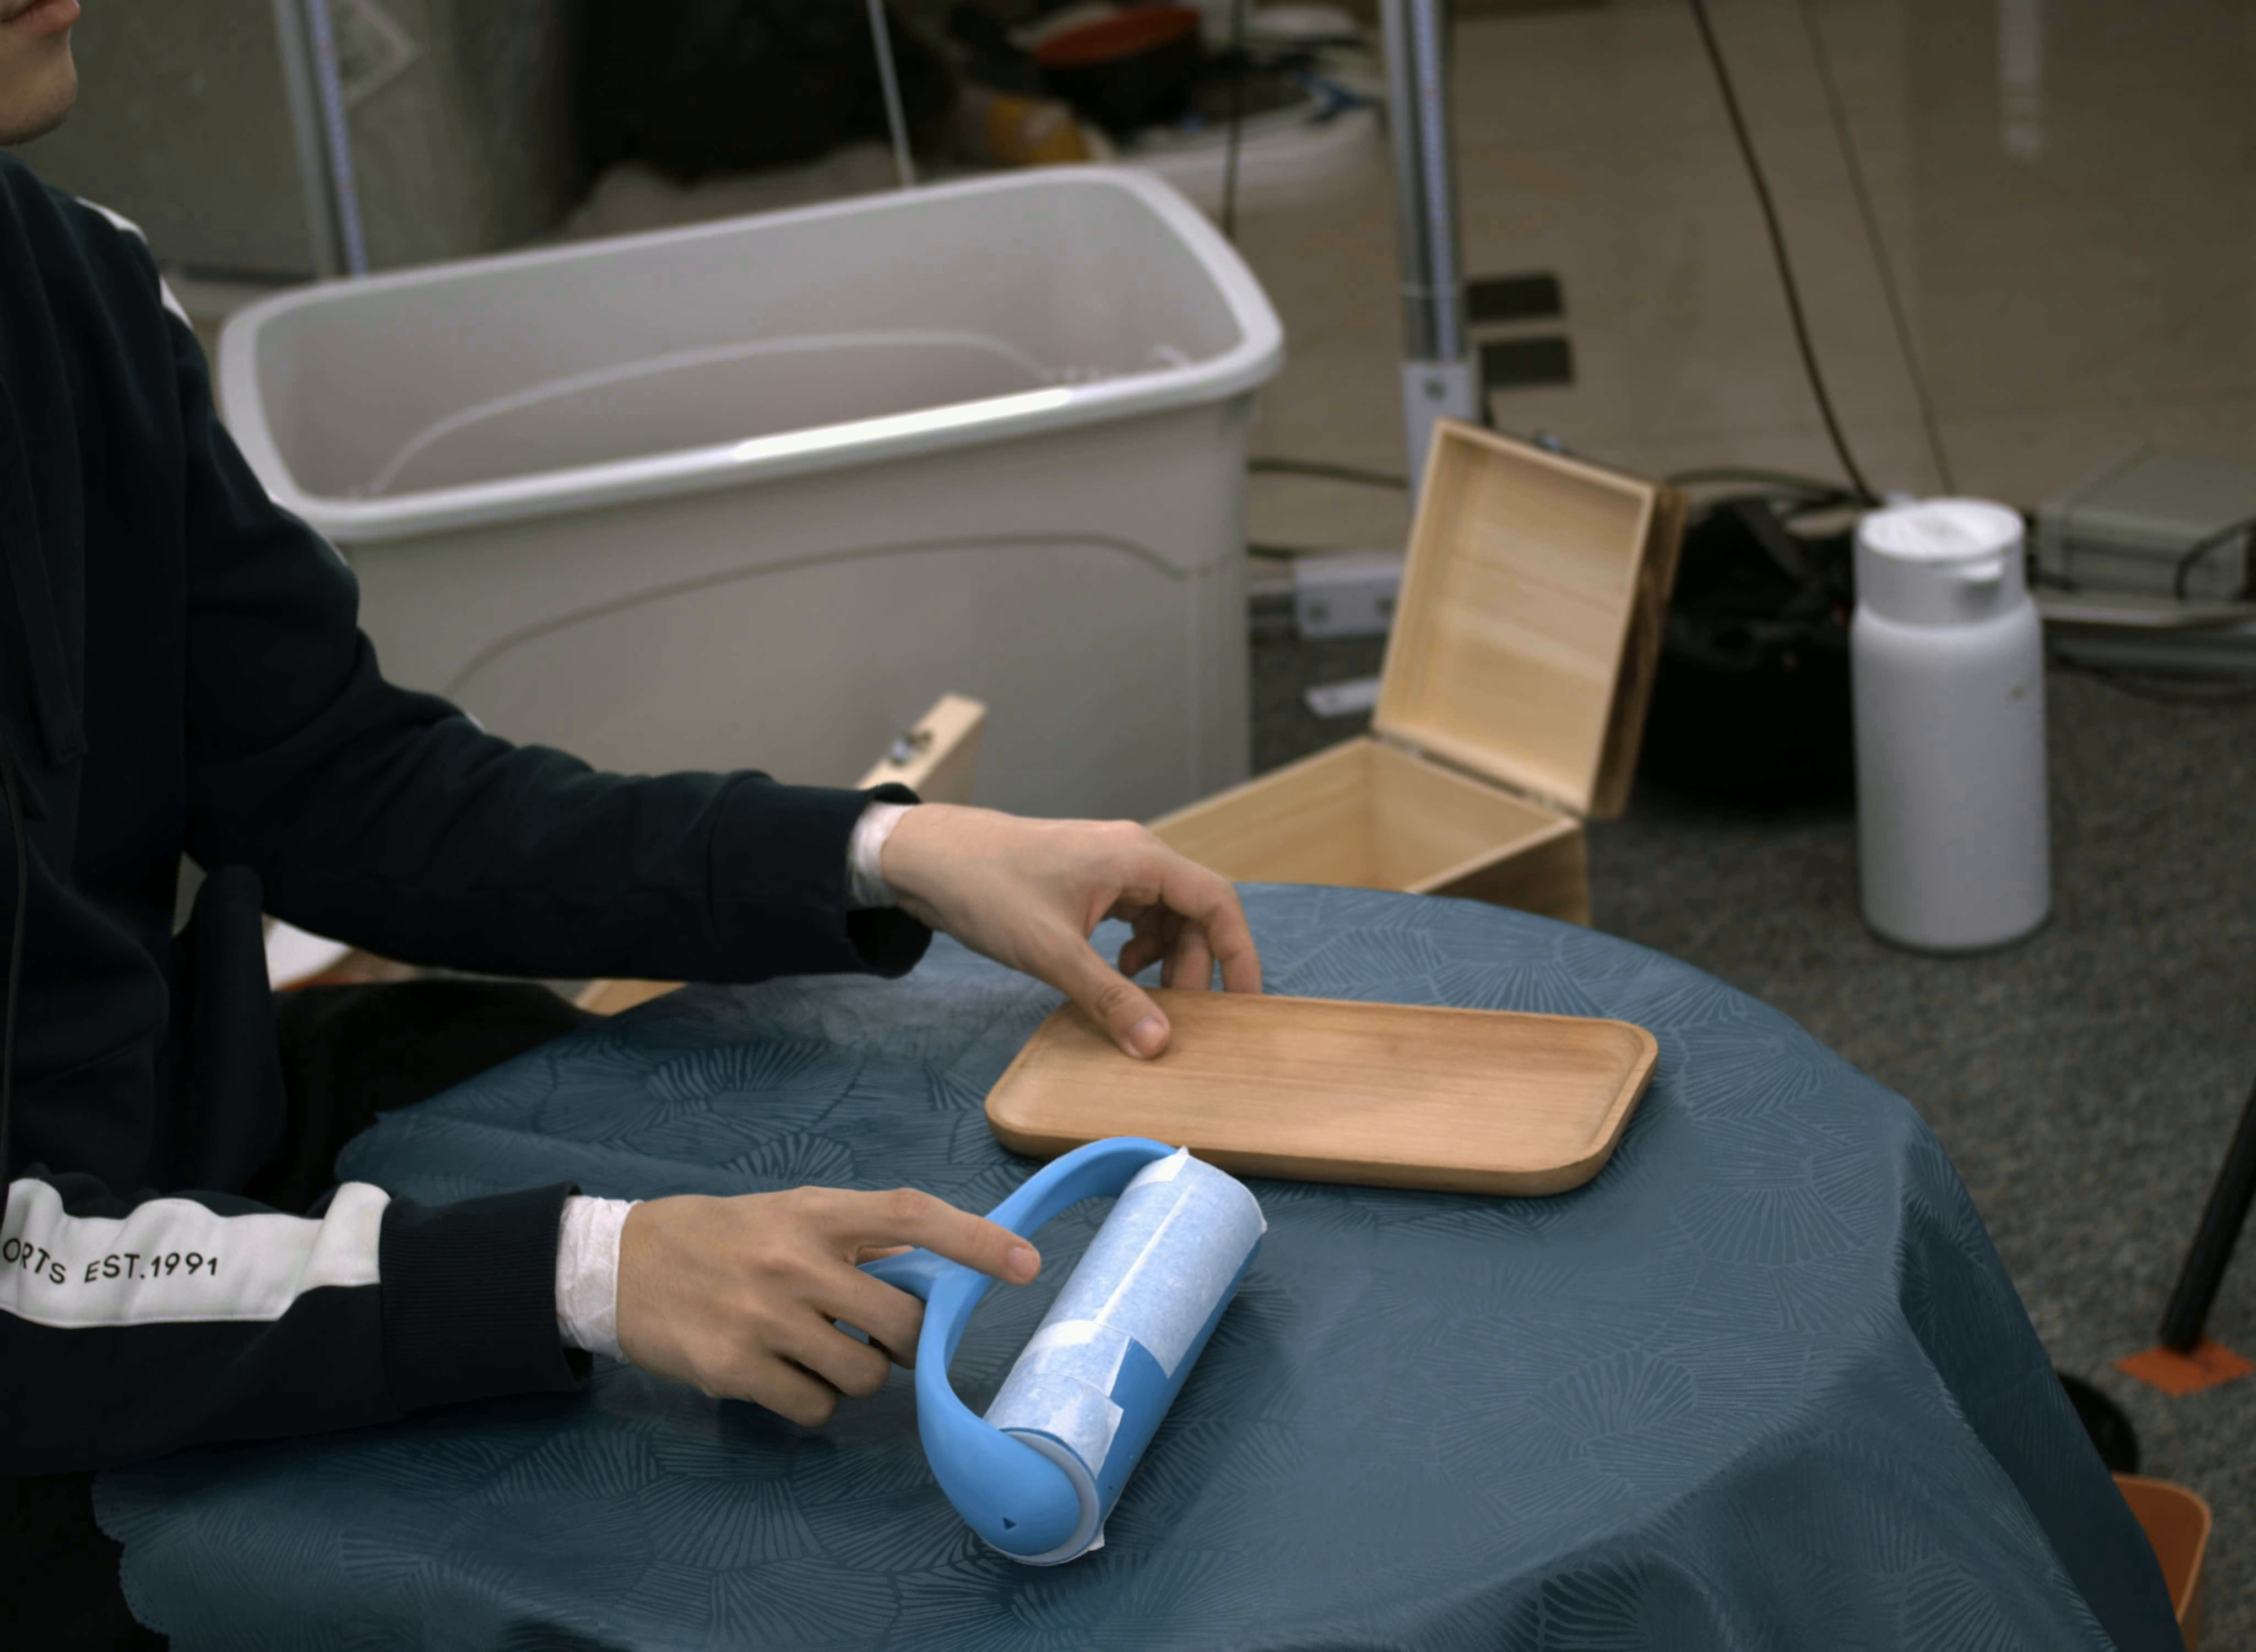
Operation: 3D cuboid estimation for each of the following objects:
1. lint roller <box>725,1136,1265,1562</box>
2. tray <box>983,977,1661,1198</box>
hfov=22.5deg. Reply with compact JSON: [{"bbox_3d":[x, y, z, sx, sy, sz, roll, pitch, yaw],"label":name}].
[{"bbox_3d":[-0.061,0.180,2.001,0.180,0.069,0.225,3,28,16],"label":"lint roller"},{"bbox_3d":[0.075,0.100,2.187,0.250,0.023,0.129,4,25,21],"label":"tray"}]
